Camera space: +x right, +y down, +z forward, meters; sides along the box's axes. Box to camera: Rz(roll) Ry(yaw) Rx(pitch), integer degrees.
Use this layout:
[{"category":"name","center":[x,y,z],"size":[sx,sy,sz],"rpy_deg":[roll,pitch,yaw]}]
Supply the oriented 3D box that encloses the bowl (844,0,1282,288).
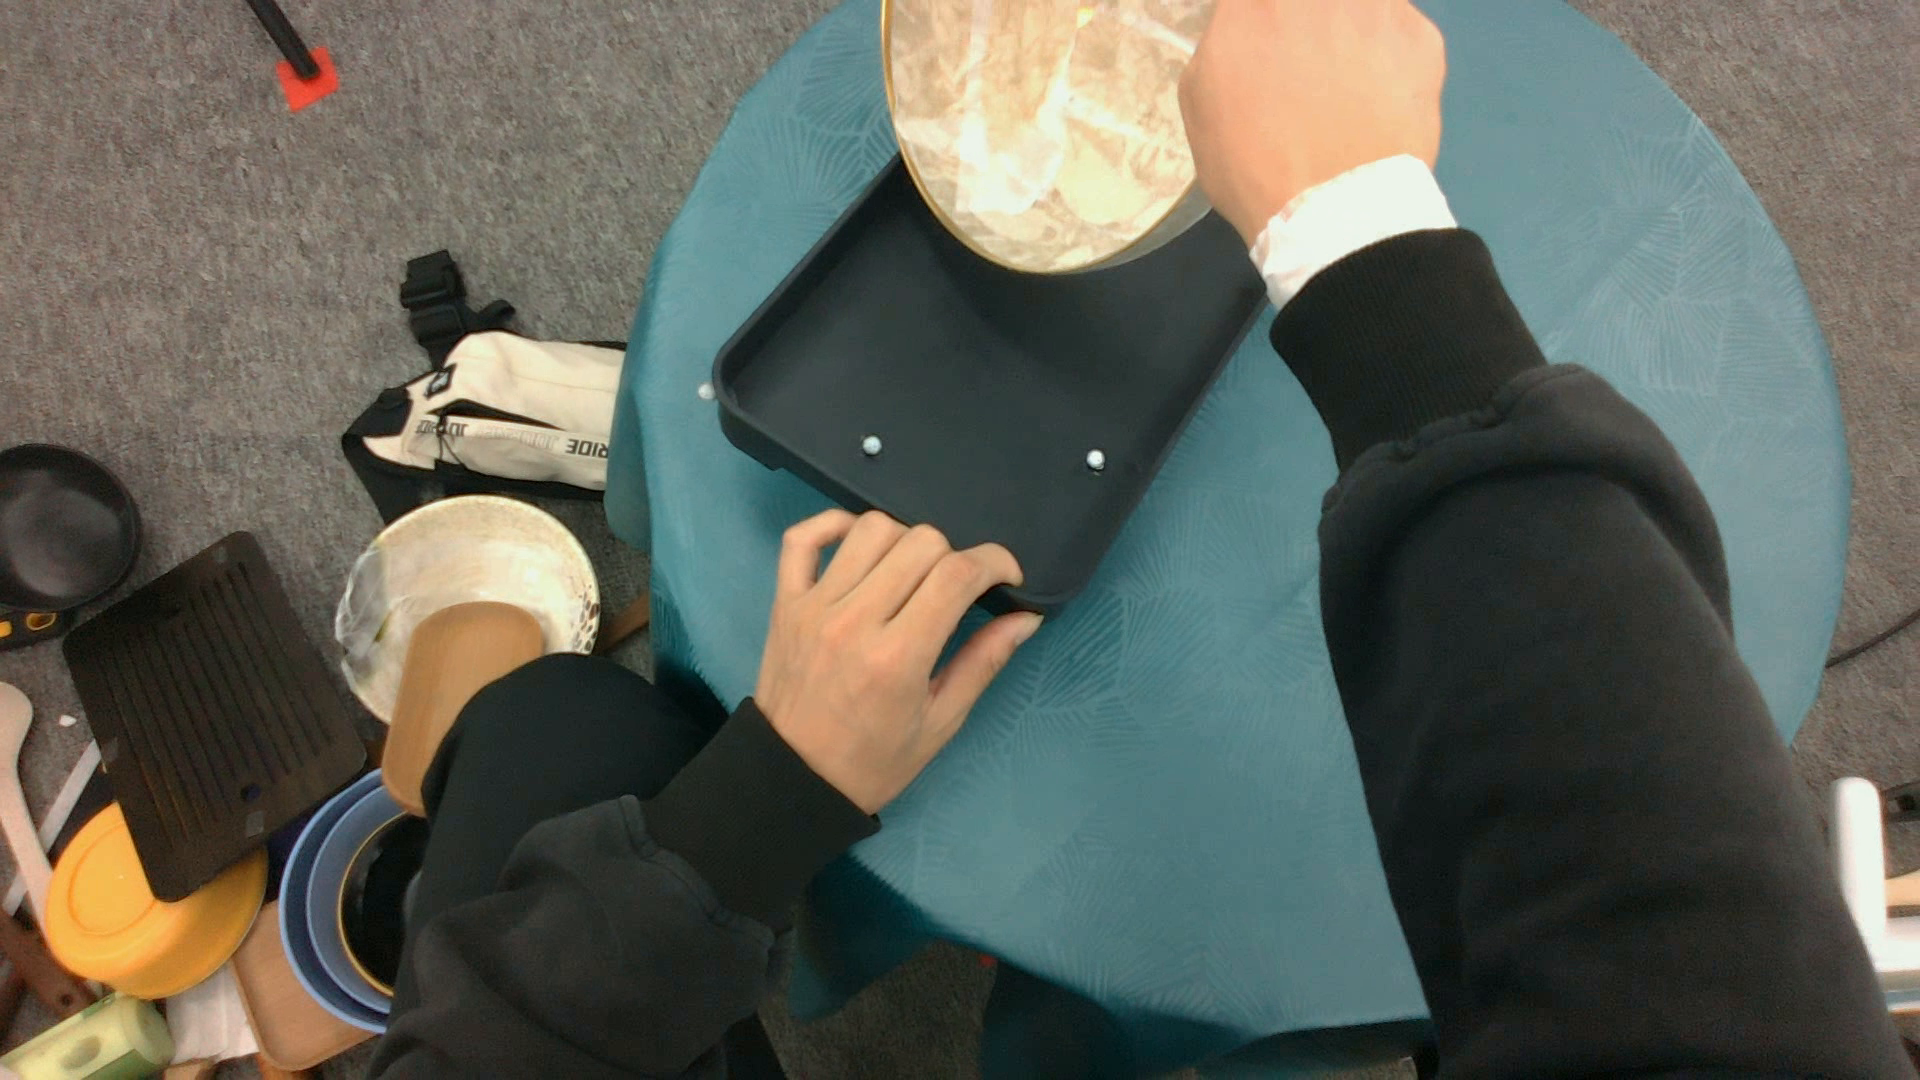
[{"category":"bowl","center":[0.056,-0.216,0.590],"size":[0.095,0.213,0.215],"rpy_deg":[-13,69,-47]}]

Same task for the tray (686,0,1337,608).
[{"category":"tray","center":[0.035,-0.129,0.645],"size":[0.184,0.037,0.319],"rpy_deg":[33,62,7]}]
